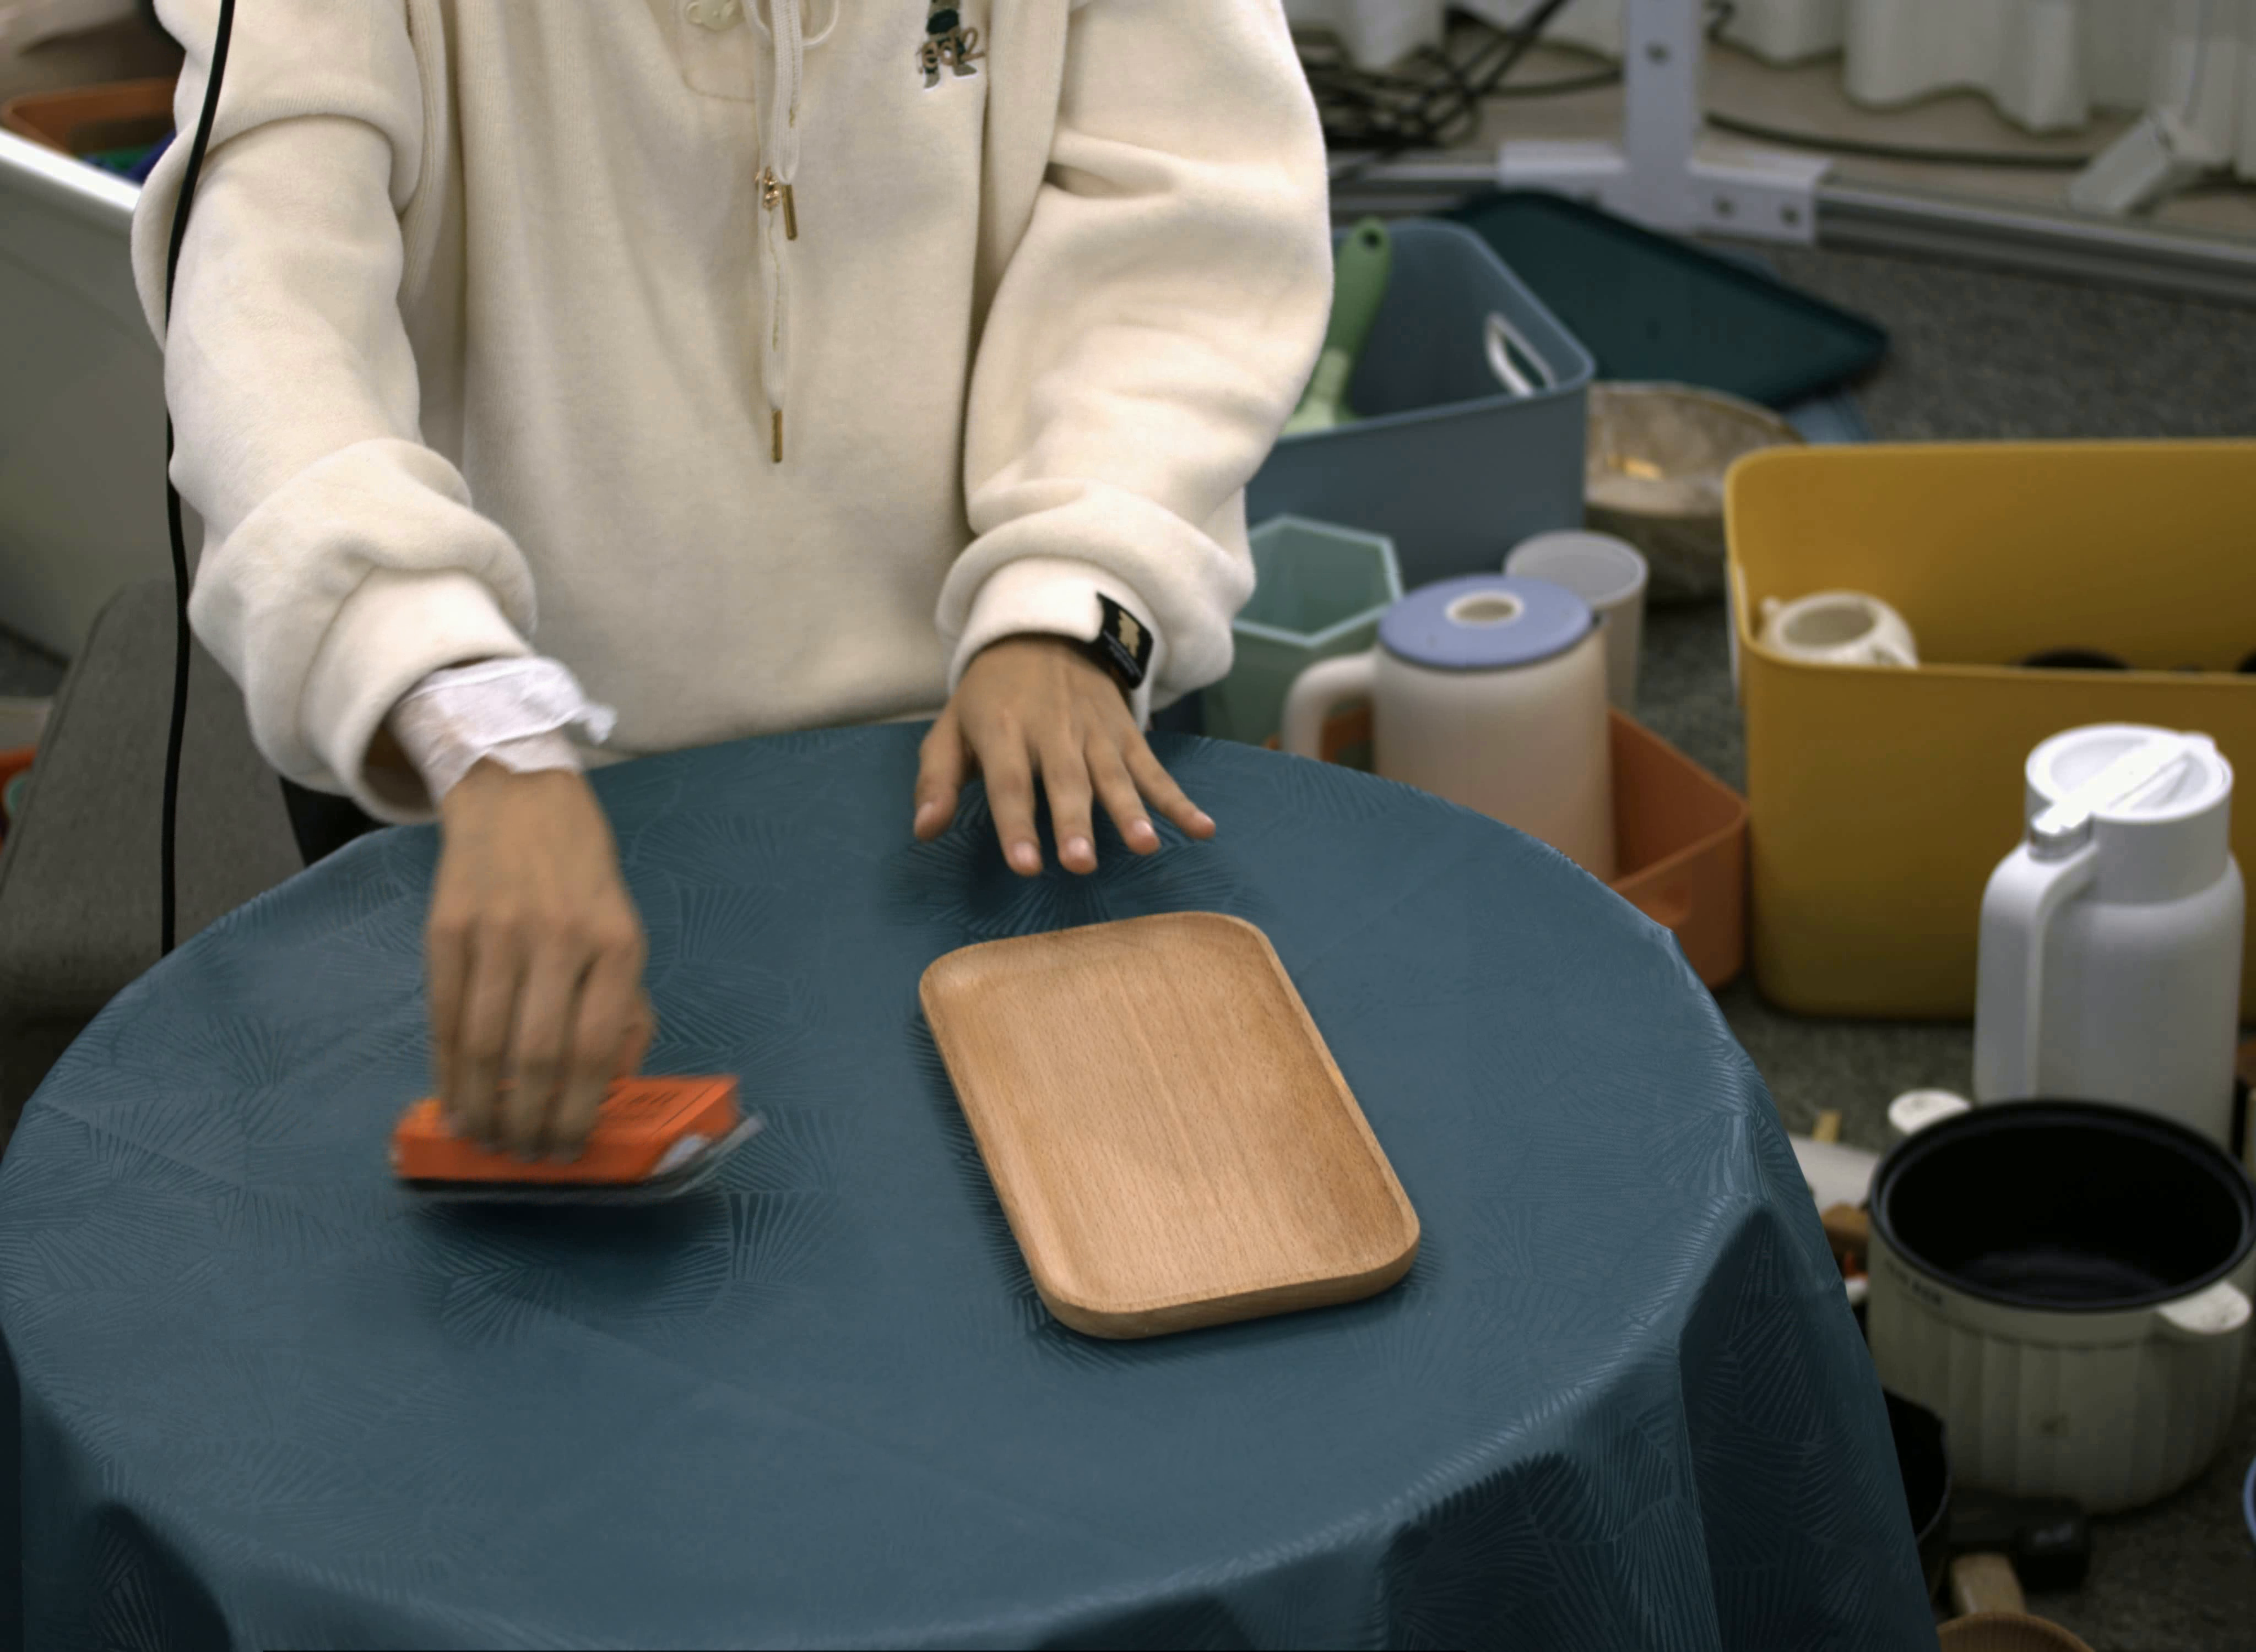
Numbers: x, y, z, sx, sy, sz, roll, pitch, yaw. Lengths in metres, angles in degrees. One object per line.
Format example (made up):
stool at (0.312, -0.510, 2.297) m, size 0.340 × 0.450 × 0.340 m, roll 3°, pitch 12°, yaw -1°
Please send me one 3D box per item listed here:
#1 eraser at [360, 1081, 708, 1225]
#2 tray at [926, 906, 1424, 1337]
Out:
eraser at (-0.197, 0.108, 1.862) m, size 0.107 × 0.023 × 0.060 m, roll 3°, pitch 21°, yaw 23°
tray at (0.012, 0.096, 1.889) m, size 0.130 × 0.022 × 0.253 m, roll -5°, pitch 27°, yaw -10°
